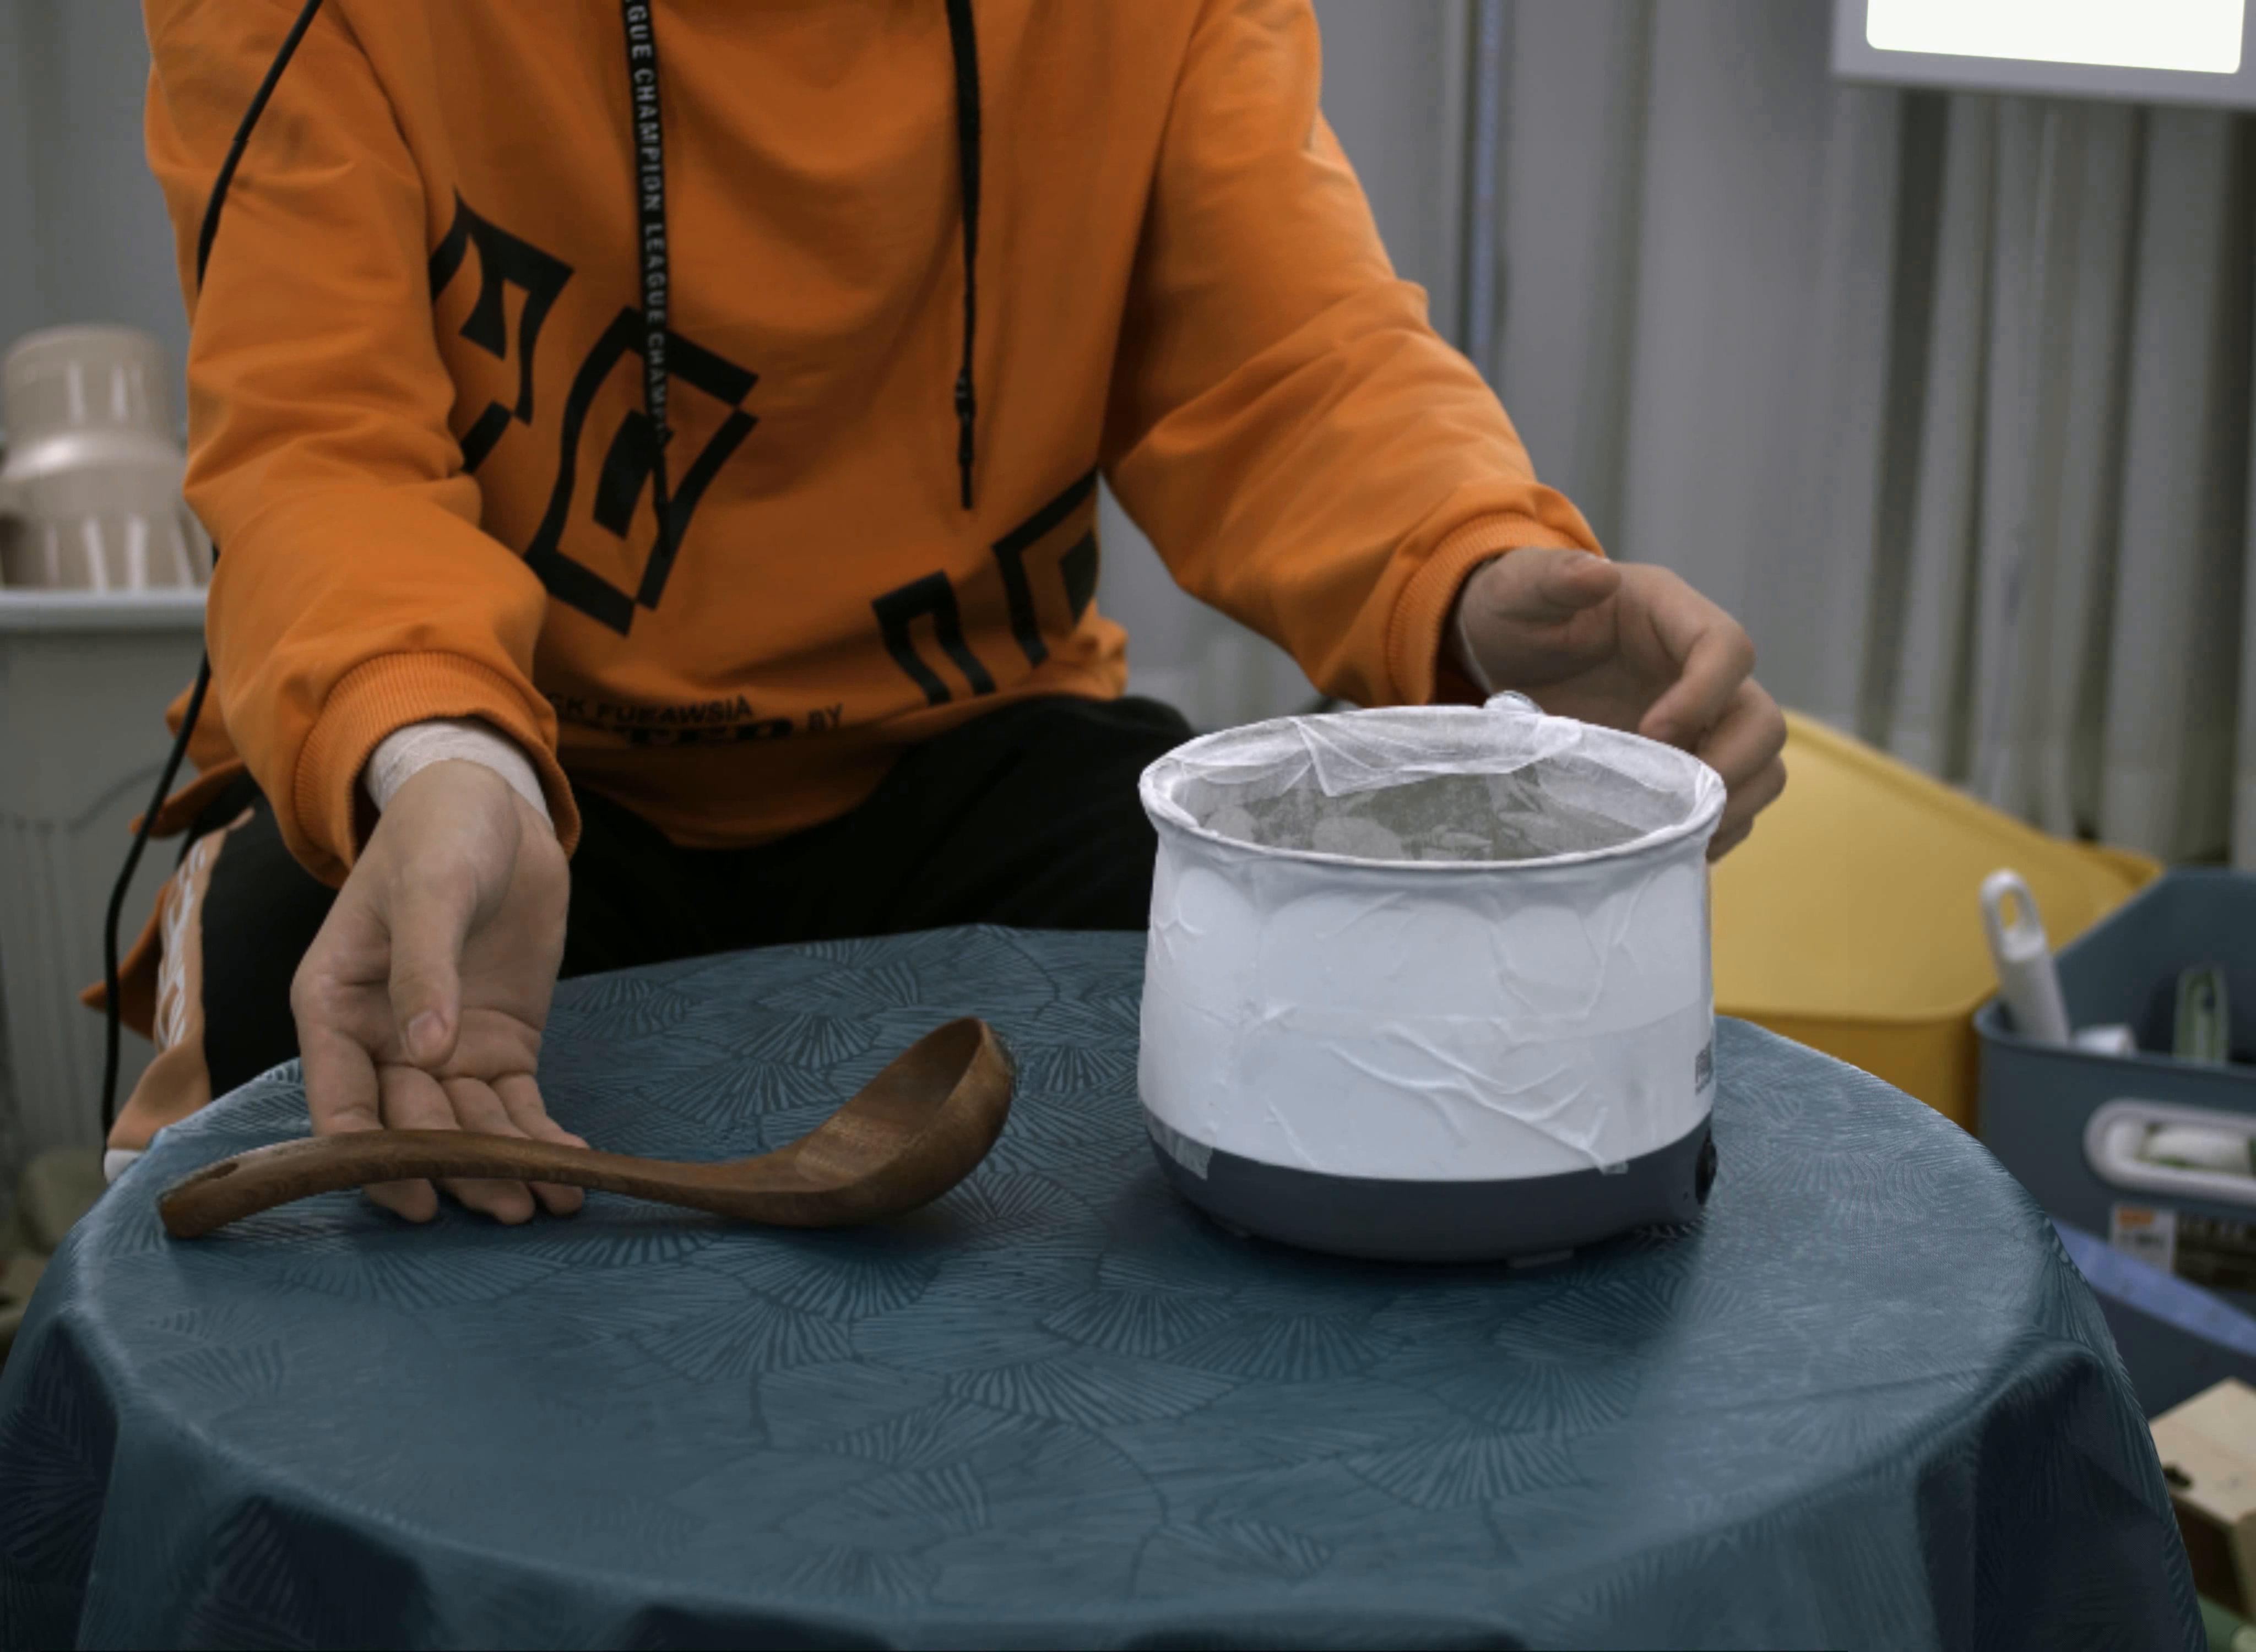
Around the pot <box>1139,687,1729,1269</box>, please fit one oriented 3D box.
[{"bbox_3d":[0.099,0.040,1.626,0.177,0.138,0.233,5,17,15],"label":"pot"}]

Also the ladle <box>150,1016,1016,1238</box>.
[{"bbox_3d":[-0.163,0.090,1.577,0.259,0.065,0.076,0,14,-3],"label":"ladle"}]
